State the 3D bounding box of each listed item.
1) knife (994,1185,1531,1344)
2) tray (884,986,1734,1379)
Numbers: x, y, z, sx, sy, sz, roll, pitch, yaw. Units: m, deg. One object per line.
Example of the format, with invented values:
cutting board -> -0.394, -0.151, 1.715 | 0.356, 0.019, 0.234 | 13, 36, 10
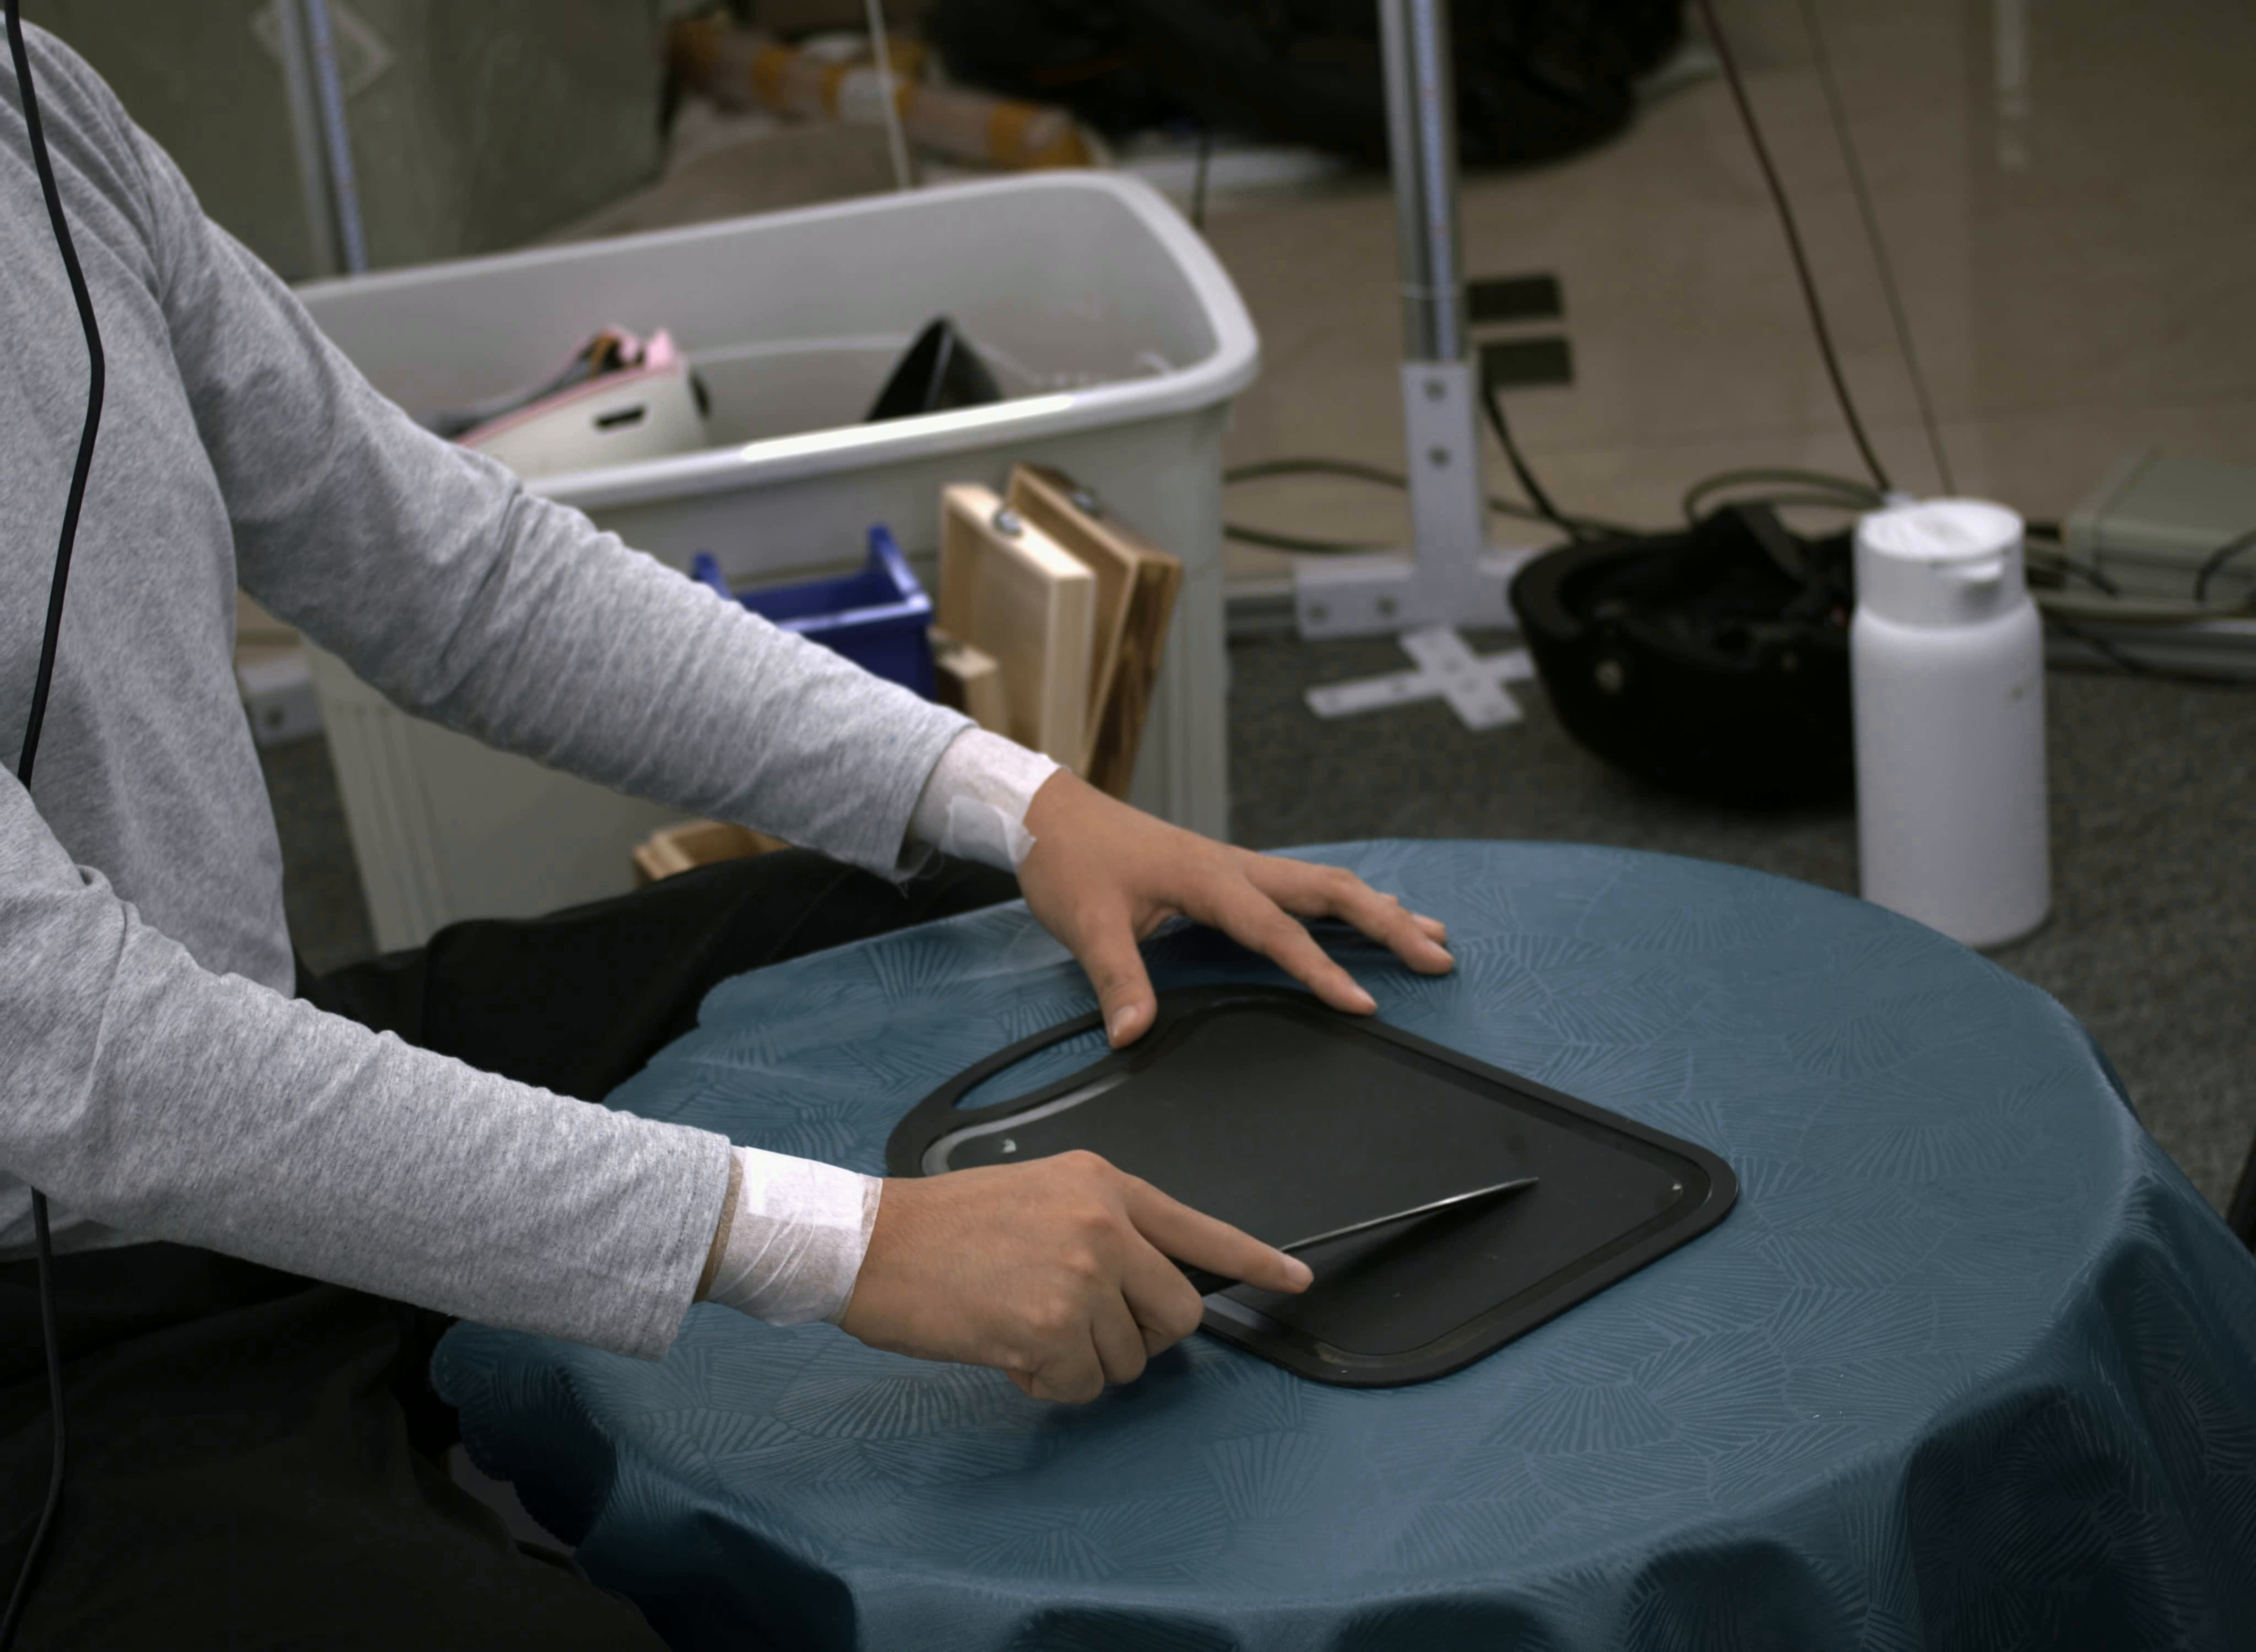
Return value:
knife -> 0.055, 0.155, 2.060 | 0.237, 0.016, 0.024 | -12, -8, -32
tray -> 0.058, 0.128, 2.155 | 0.209, 0.010, 0.322 | -25, 30, -34
